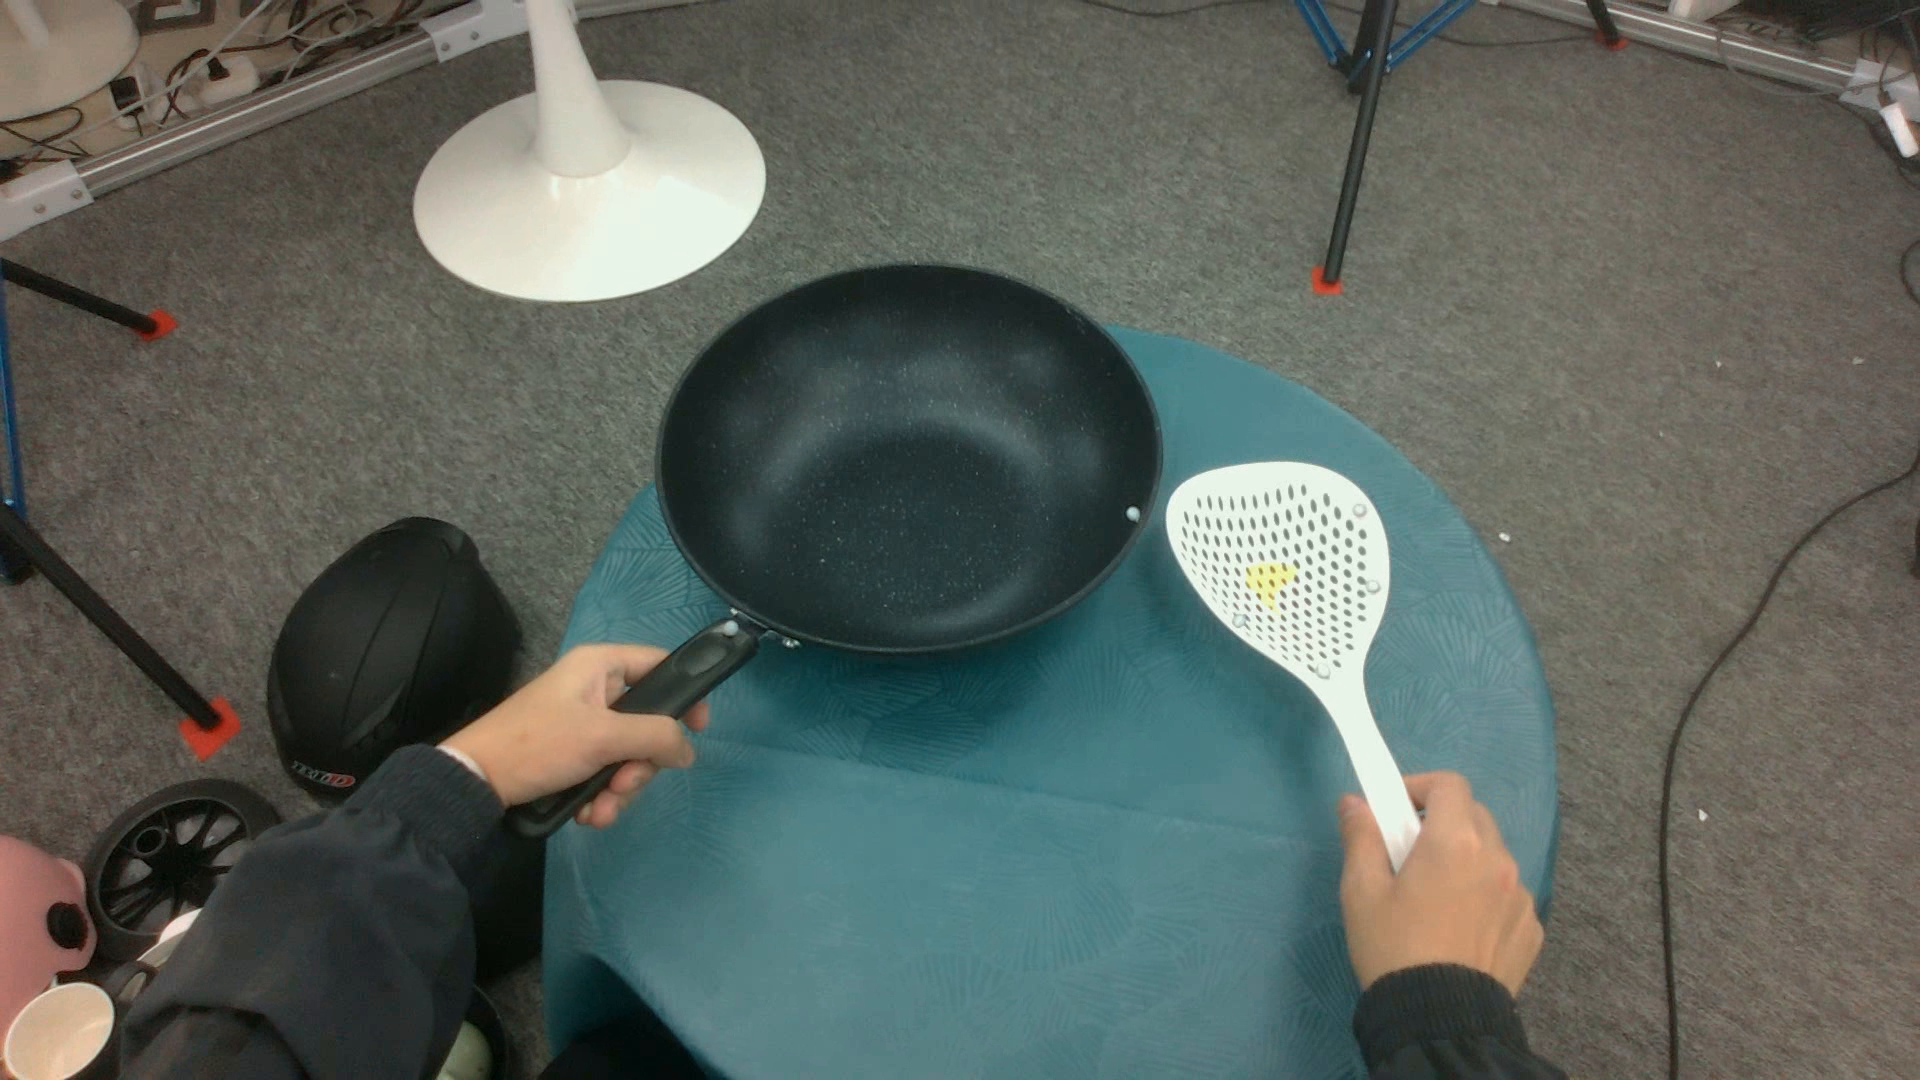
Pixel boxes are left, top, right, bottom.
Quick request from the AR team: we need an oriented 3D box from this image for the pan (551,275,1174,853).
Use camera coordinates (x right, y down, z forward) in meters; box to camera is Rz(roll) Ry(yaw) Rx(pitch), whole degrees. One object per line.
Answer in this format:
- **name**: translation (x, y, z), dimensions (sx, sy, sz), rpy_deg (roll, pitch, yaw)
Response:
- **pan**: translation (-0.066, 0.016, 0.838), dimensions (0.310, 0.111, 0.479), rpy_deg (24, 58, 21)

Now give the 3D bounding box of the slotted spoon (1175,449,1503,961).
- **slotted spoon**: translation (0.226, 0.077, 0.799), dimensions (0.137, 0.050, 0.349), rpy_deg (-9, 44, -6)
